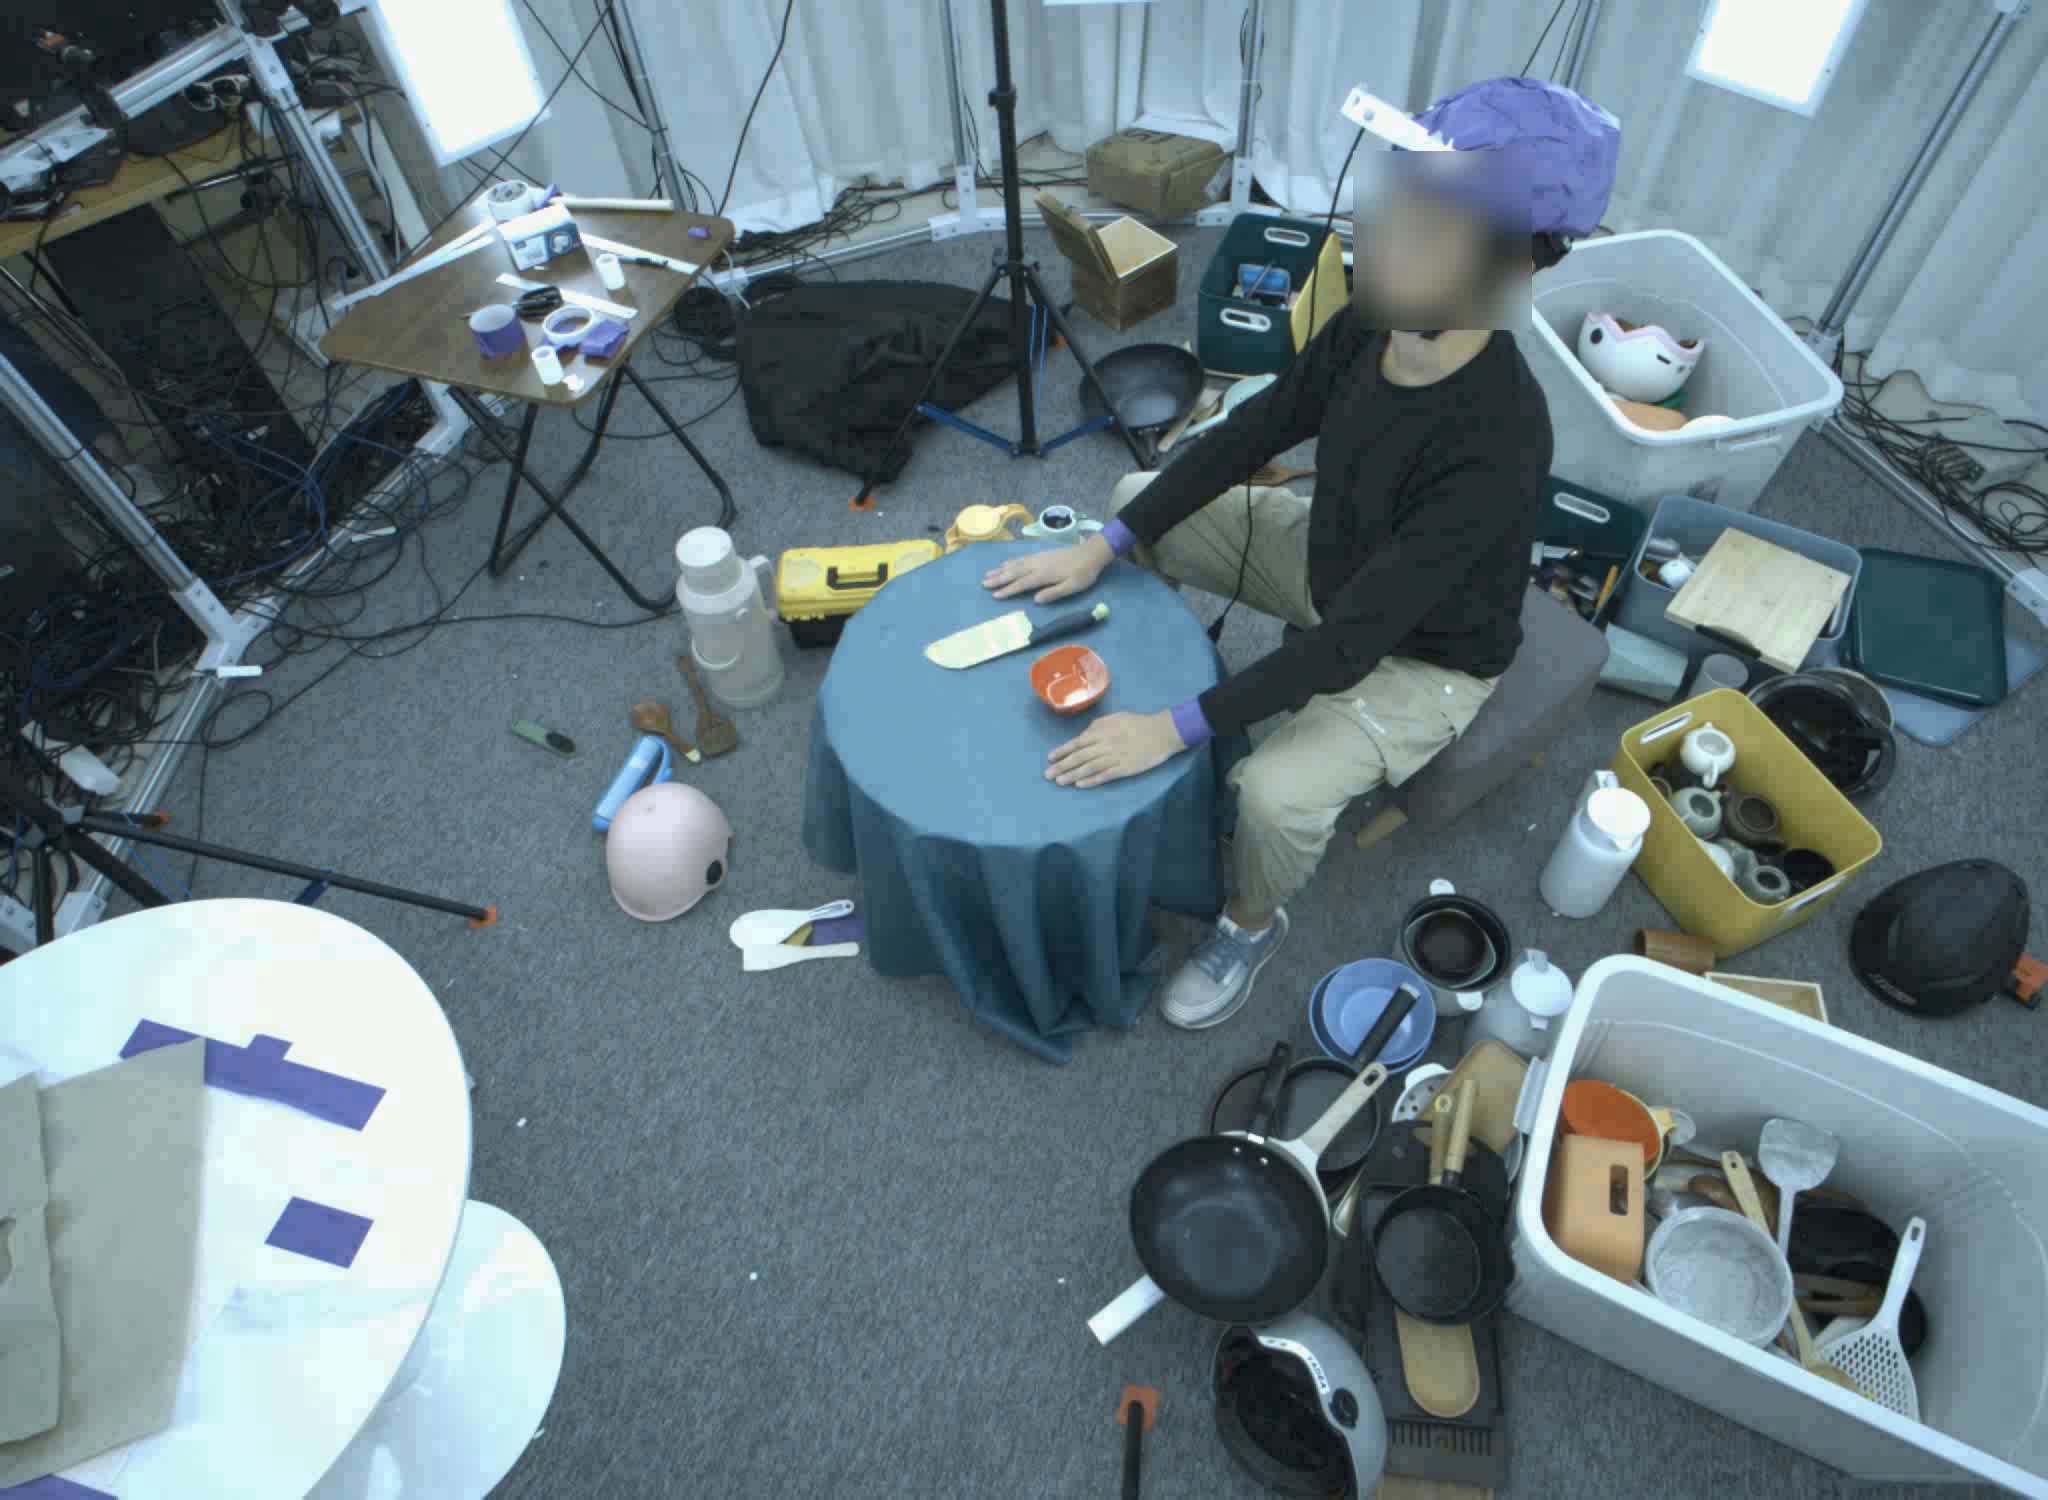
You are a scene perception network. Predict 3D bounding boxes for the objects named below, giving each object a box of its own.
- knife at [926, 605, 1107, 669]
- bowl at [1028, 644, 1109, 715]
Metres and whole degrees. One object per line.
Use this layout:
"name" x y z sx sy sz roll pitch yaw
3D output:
"knife" -0.013 -0.183 1.906 0.291 0.027 0.079 -17 57 -9
"bowl" 0.067 -0.096 1.818 0.119 0.052 0.117 -1 54 3
